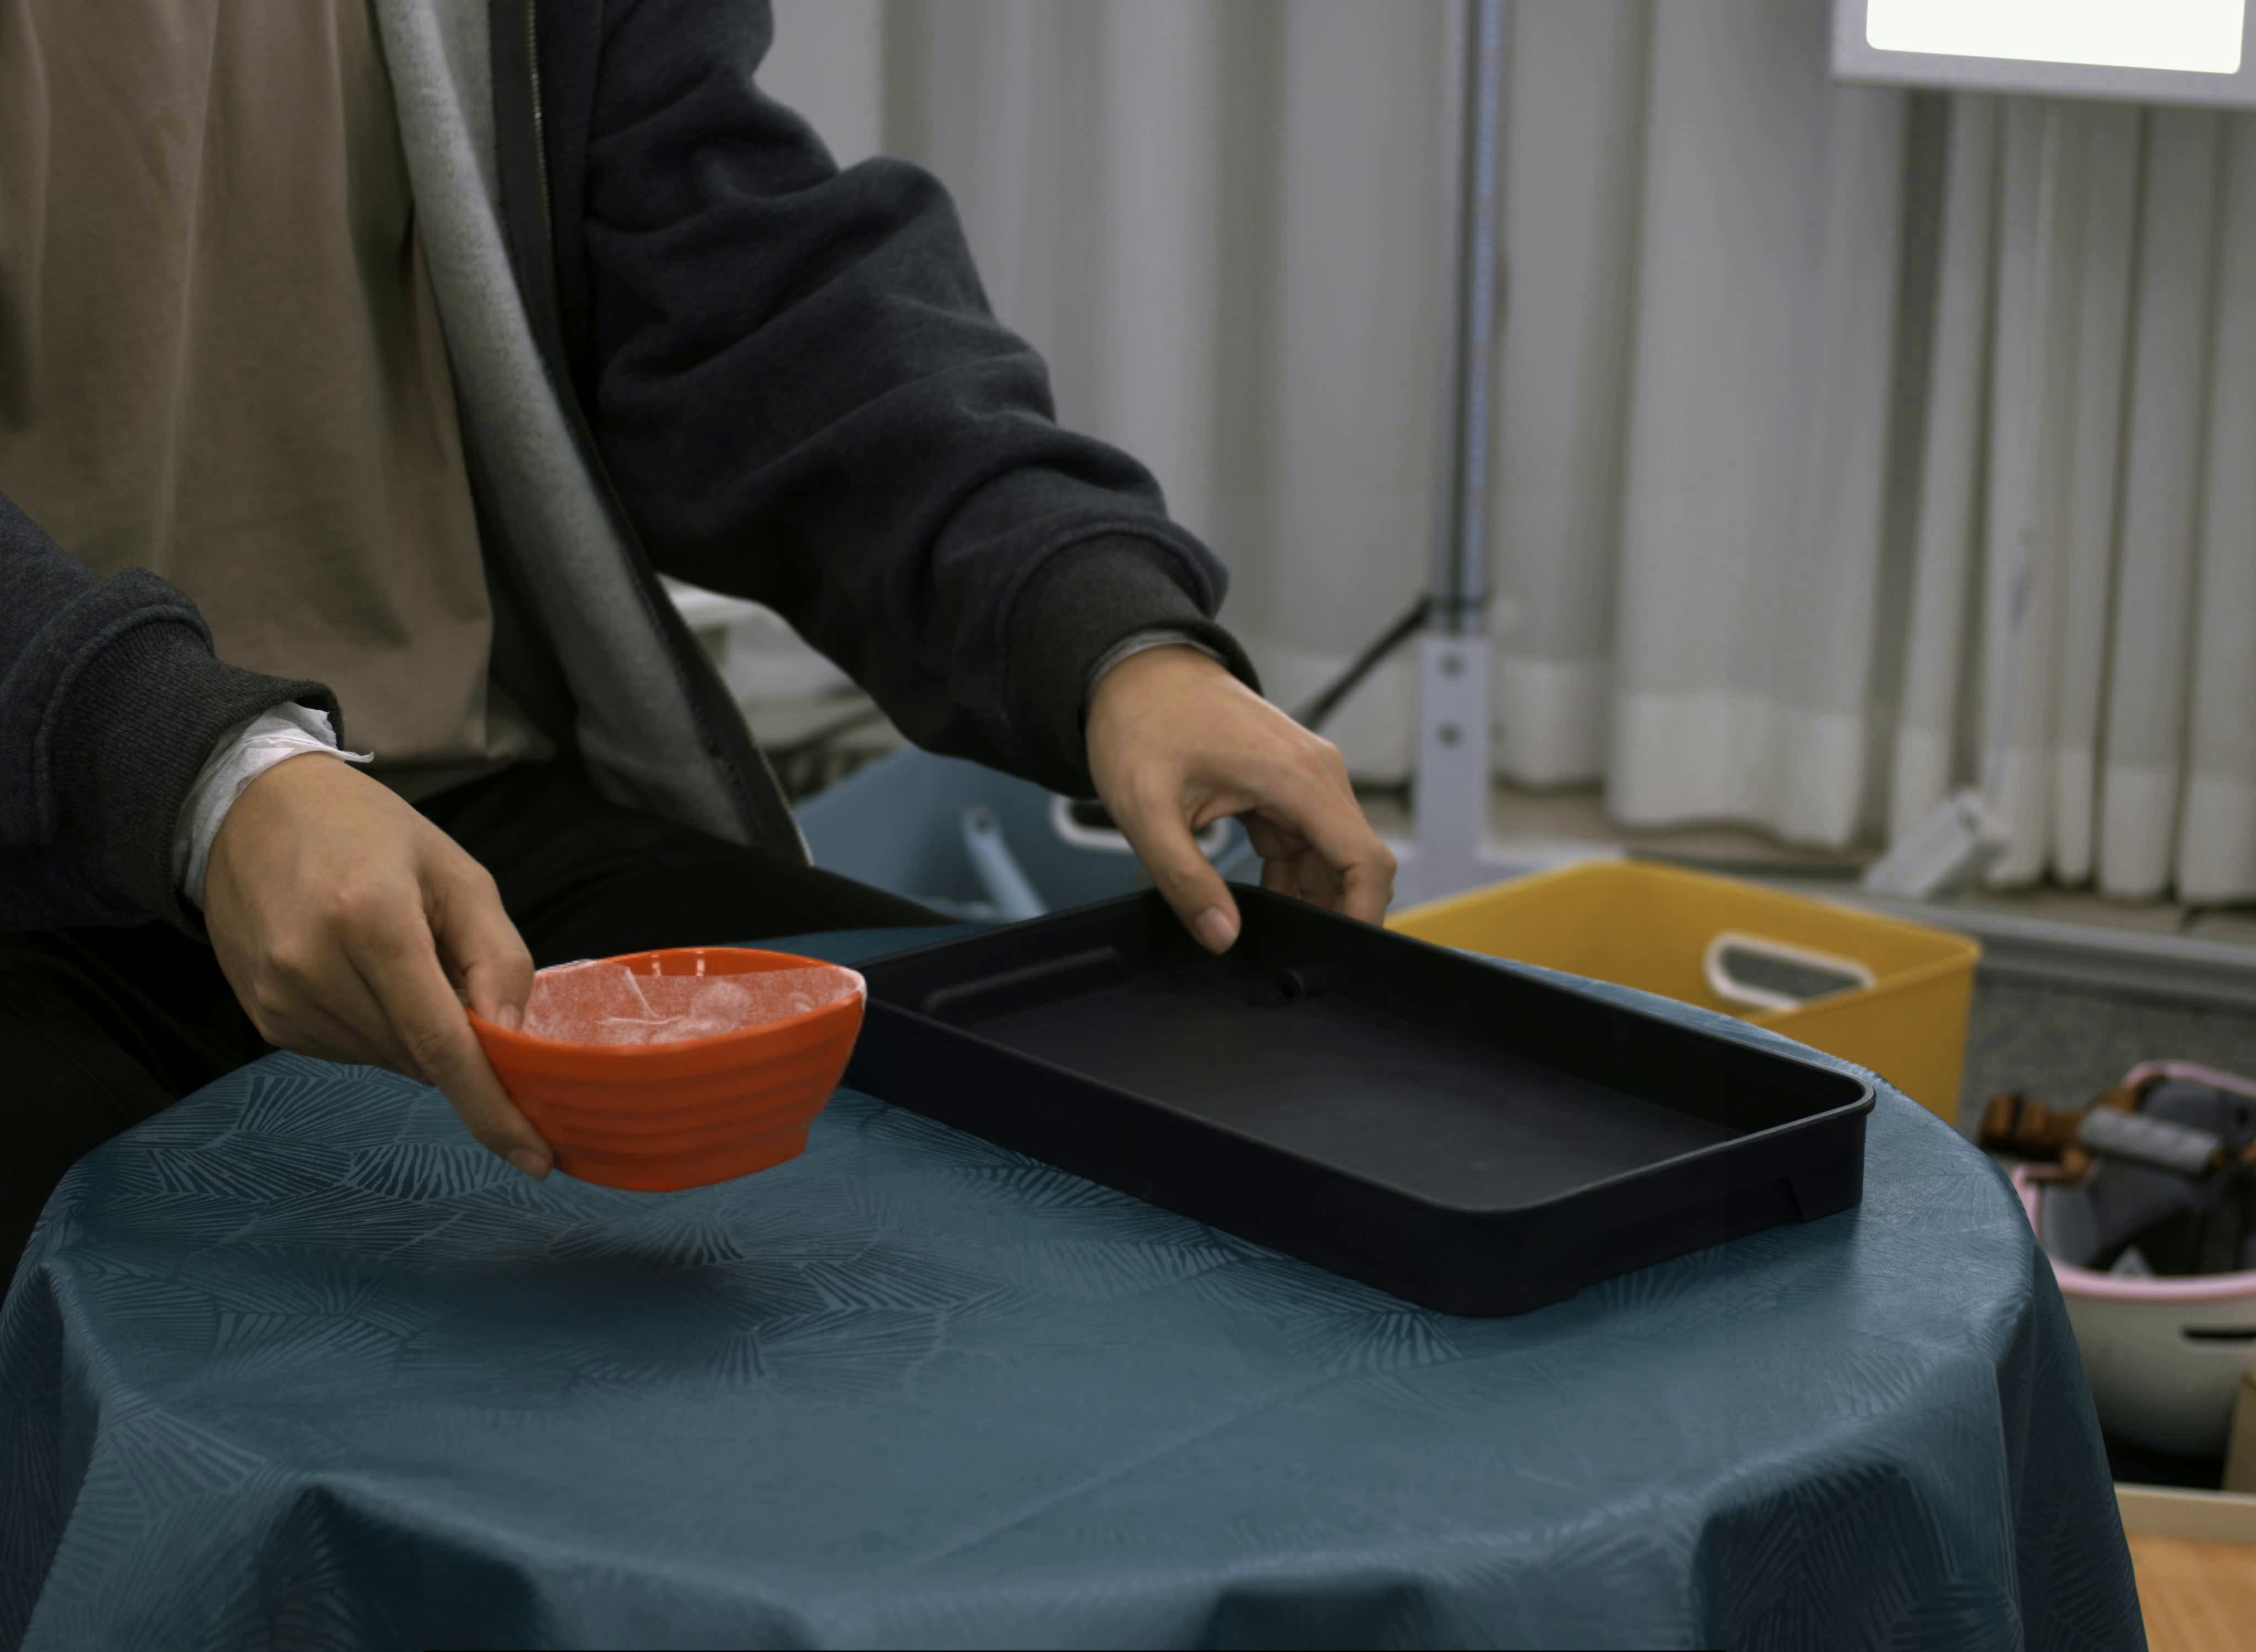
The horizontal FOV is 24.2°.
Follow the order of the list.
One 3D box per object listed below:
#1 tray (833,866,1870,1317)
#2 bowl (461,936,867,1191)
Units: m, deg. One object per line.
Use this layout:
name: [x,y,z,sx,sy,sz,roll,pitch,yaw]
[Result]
tray: [0.064,0.079,1.672,0.185,0.037,0.313,-13,21,-40]
bowl: [-0.134,0.071,1.540,0.118,0.052,0.118,-3,14,1]
